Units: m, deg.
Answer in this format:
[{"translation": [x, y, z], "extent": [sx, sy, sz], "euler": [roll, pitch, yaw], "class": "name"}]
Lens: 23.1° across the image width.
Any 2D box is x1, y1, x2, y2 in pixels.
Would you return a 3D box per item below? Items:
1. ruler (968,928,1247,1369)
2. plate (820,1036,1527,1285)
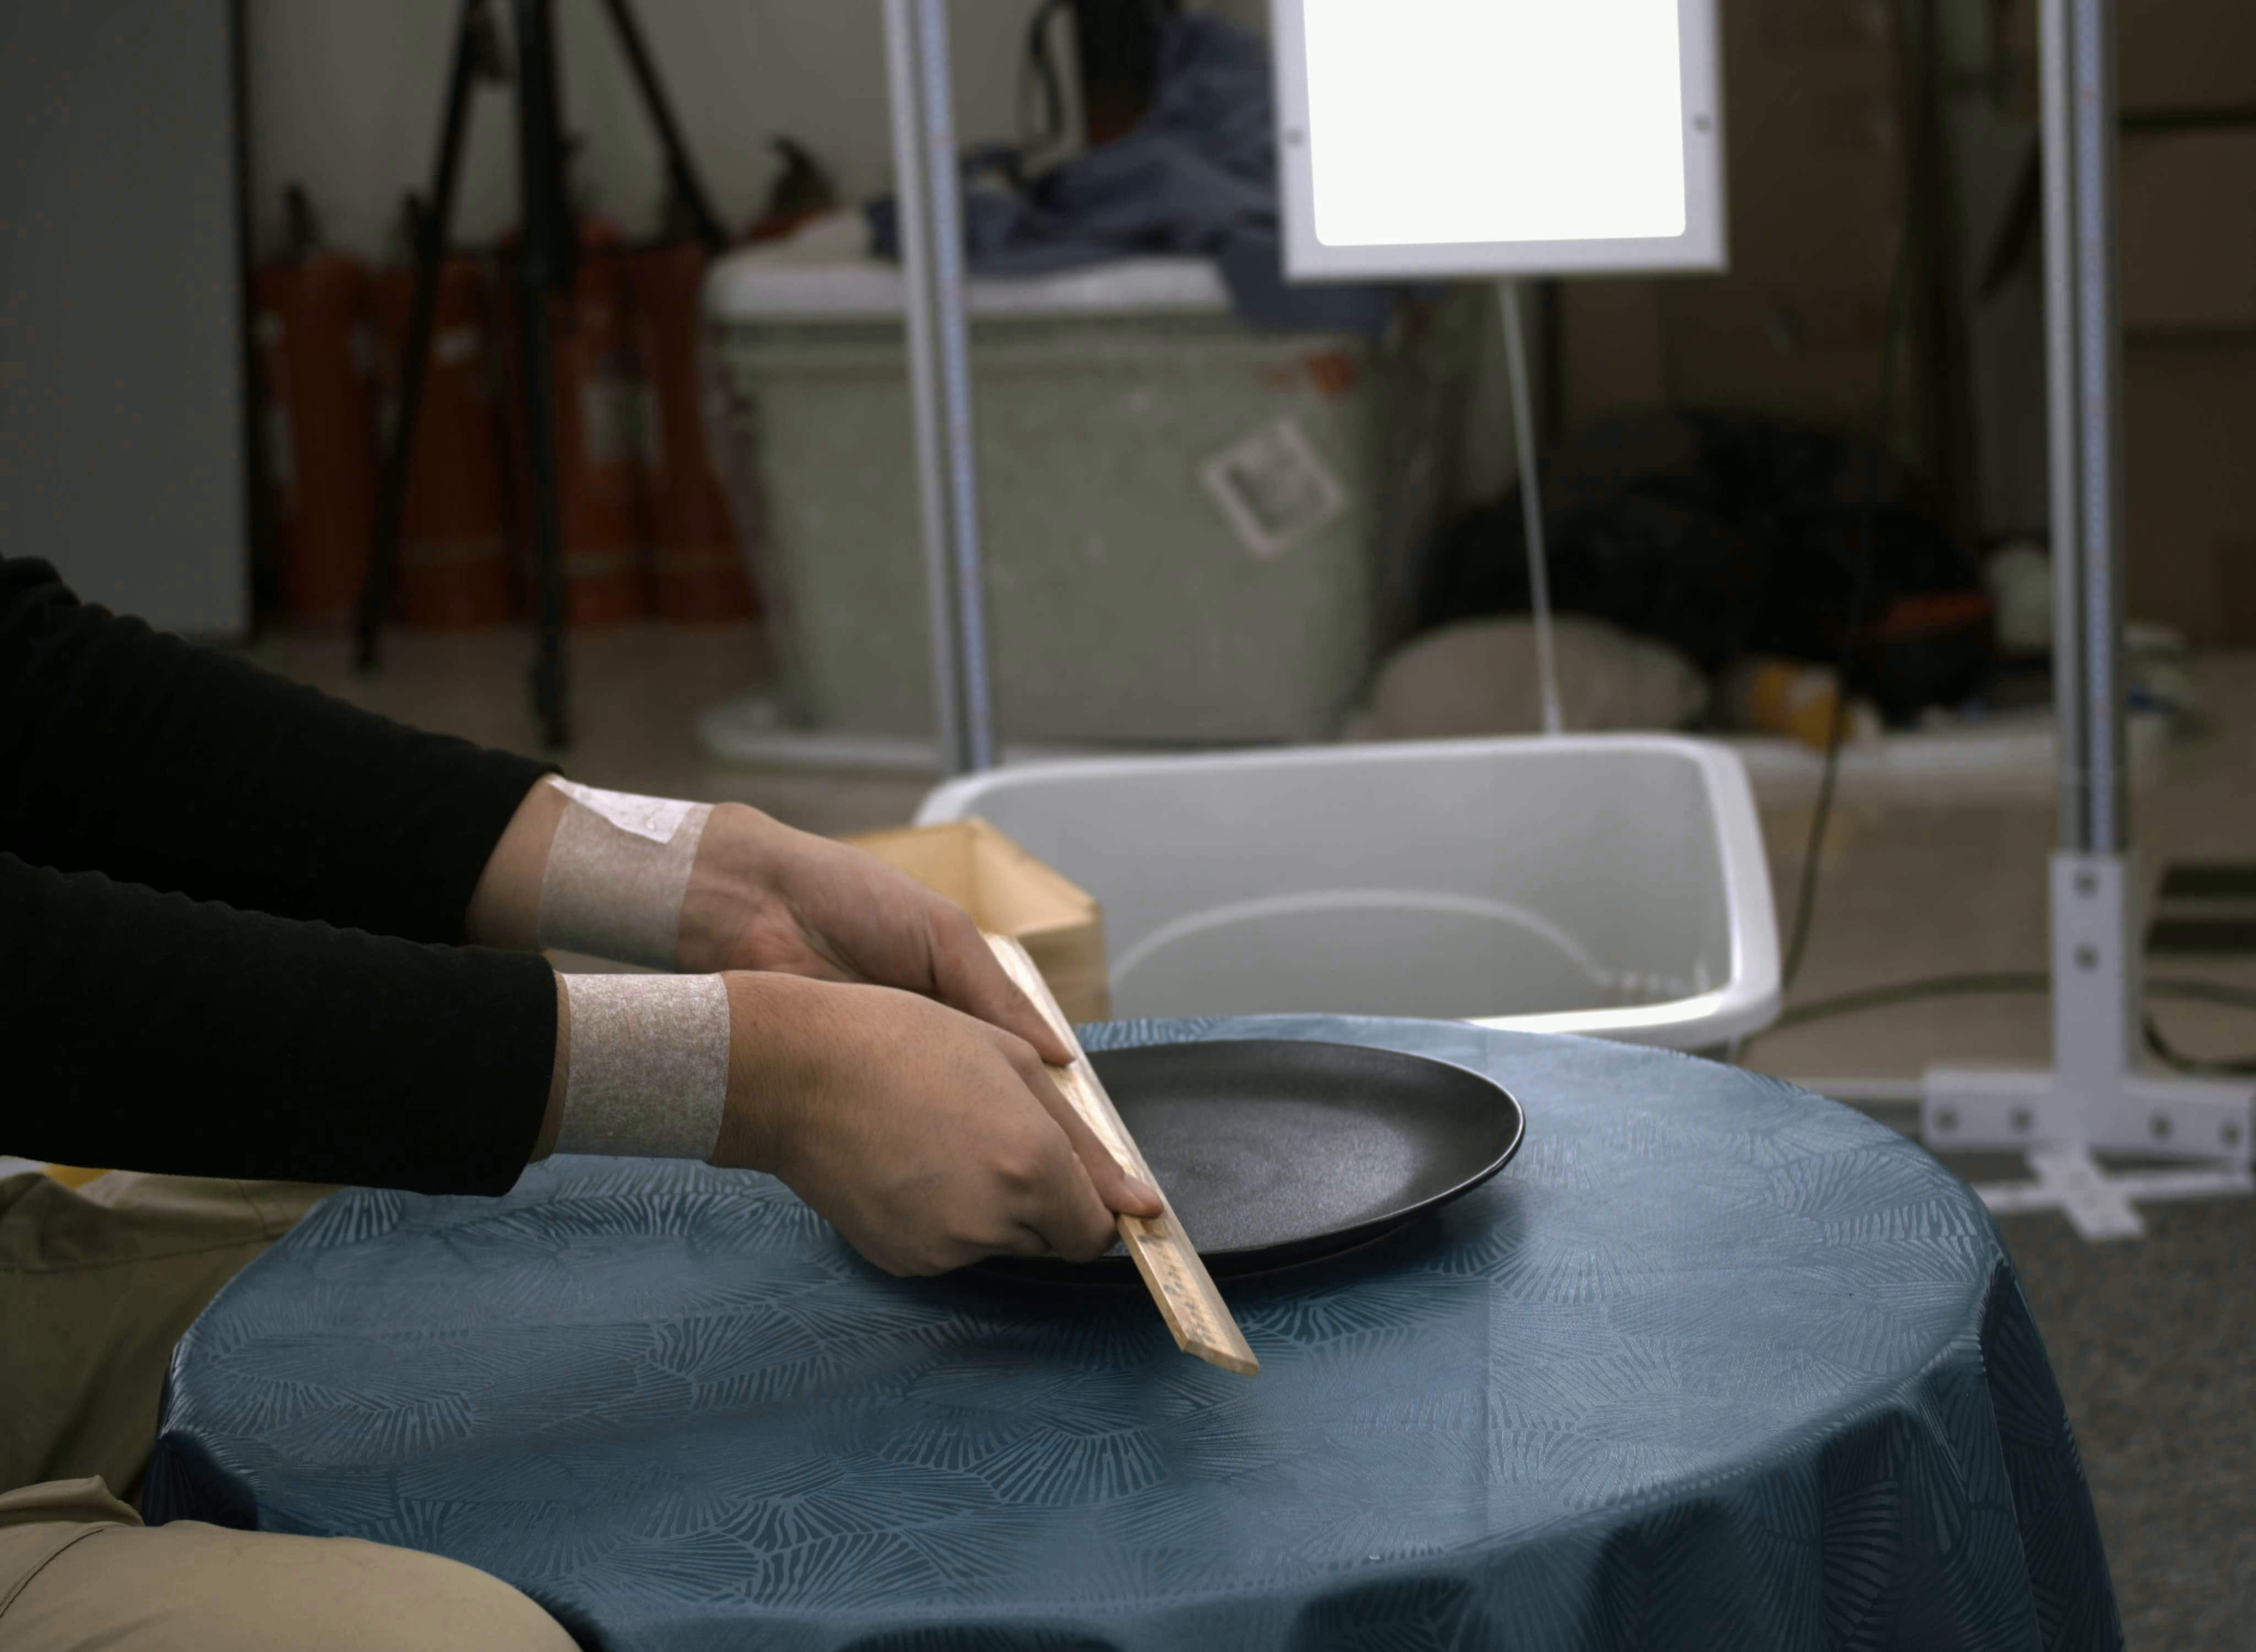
[{"translation": [-0.013, 0.099, 1.862], "extent": [0.026, 0.006, 0.502], "euler": [21, 9, -13], "class": "ruler"}, {"translation": [0.016, 0.117, 1.882], "extent": [0.244, 0.023, 0.244], "euler": [-5, 14, 0], "class": "plate"}]
